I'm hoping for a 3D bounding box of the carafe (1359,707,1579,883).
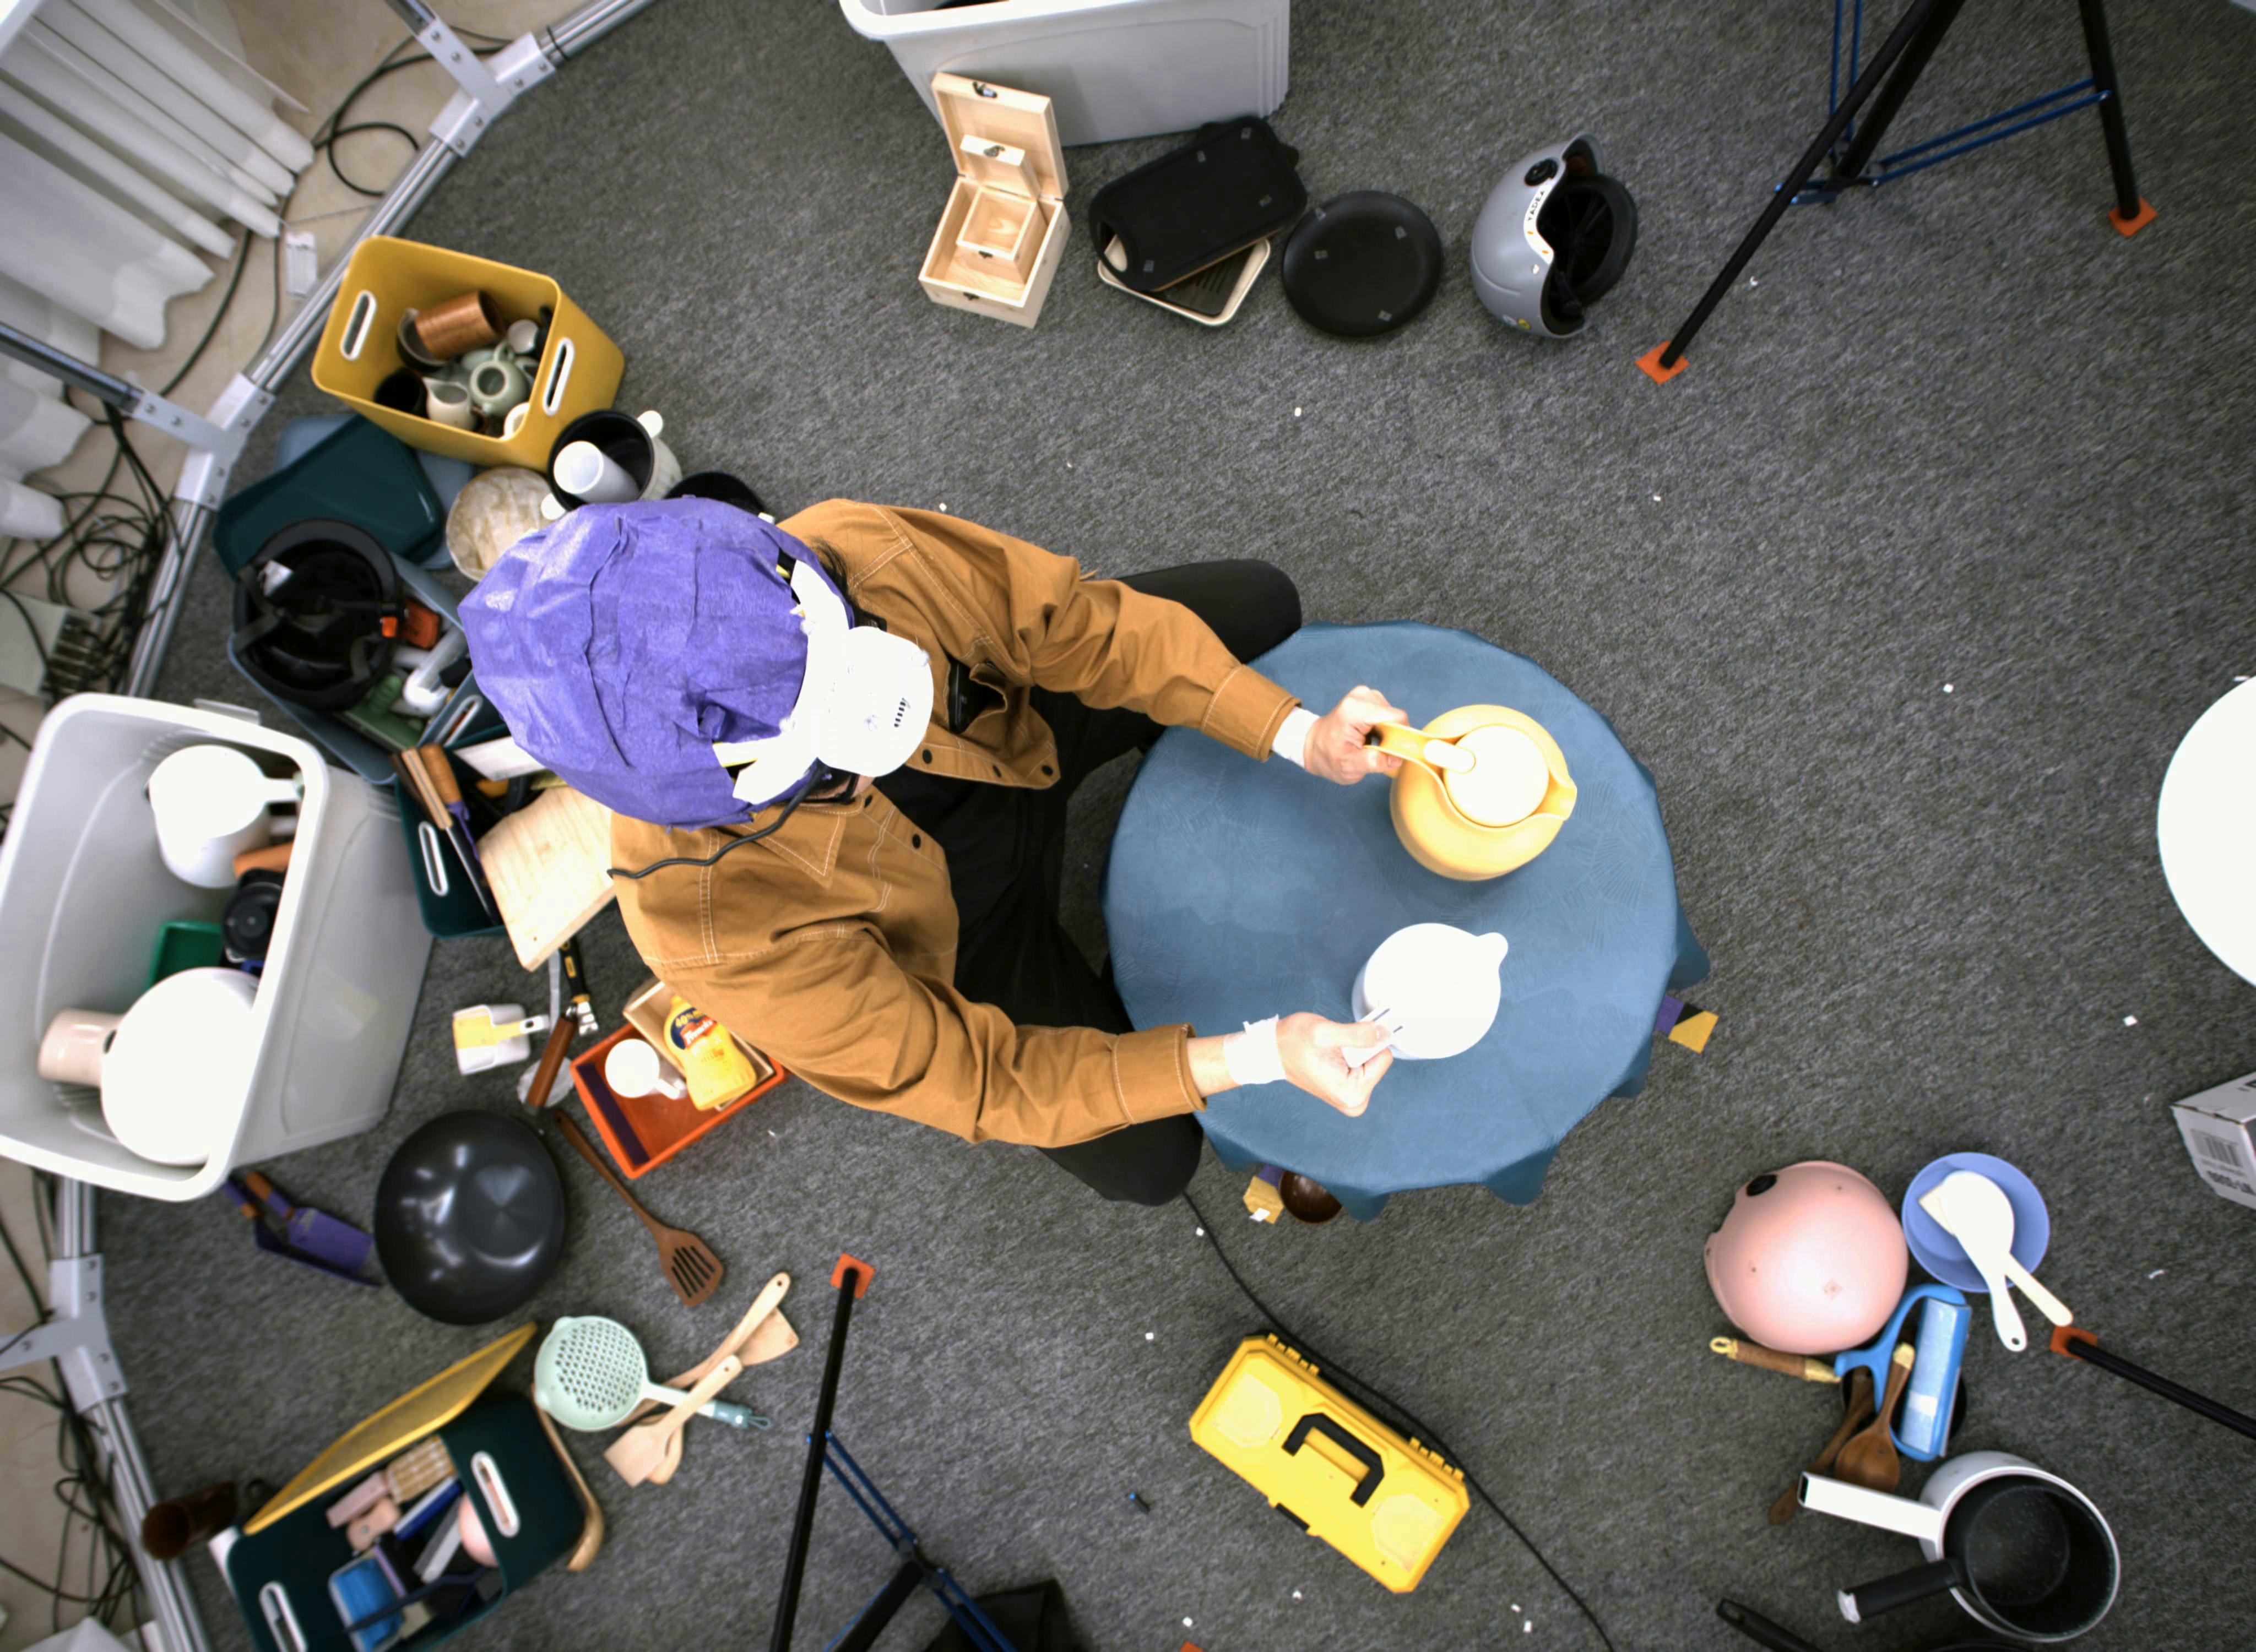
[{"bbox_3d":[0.317,-0.043,1.309,0.202,0.261,0.163,25,87,7],"label":"carafe"}]

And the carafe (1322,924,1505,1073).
[{"bbox_3d":[0.255,0.164,1.264,0.173,0.270,0.123,-37,81,0],"label":"carafe"}]
